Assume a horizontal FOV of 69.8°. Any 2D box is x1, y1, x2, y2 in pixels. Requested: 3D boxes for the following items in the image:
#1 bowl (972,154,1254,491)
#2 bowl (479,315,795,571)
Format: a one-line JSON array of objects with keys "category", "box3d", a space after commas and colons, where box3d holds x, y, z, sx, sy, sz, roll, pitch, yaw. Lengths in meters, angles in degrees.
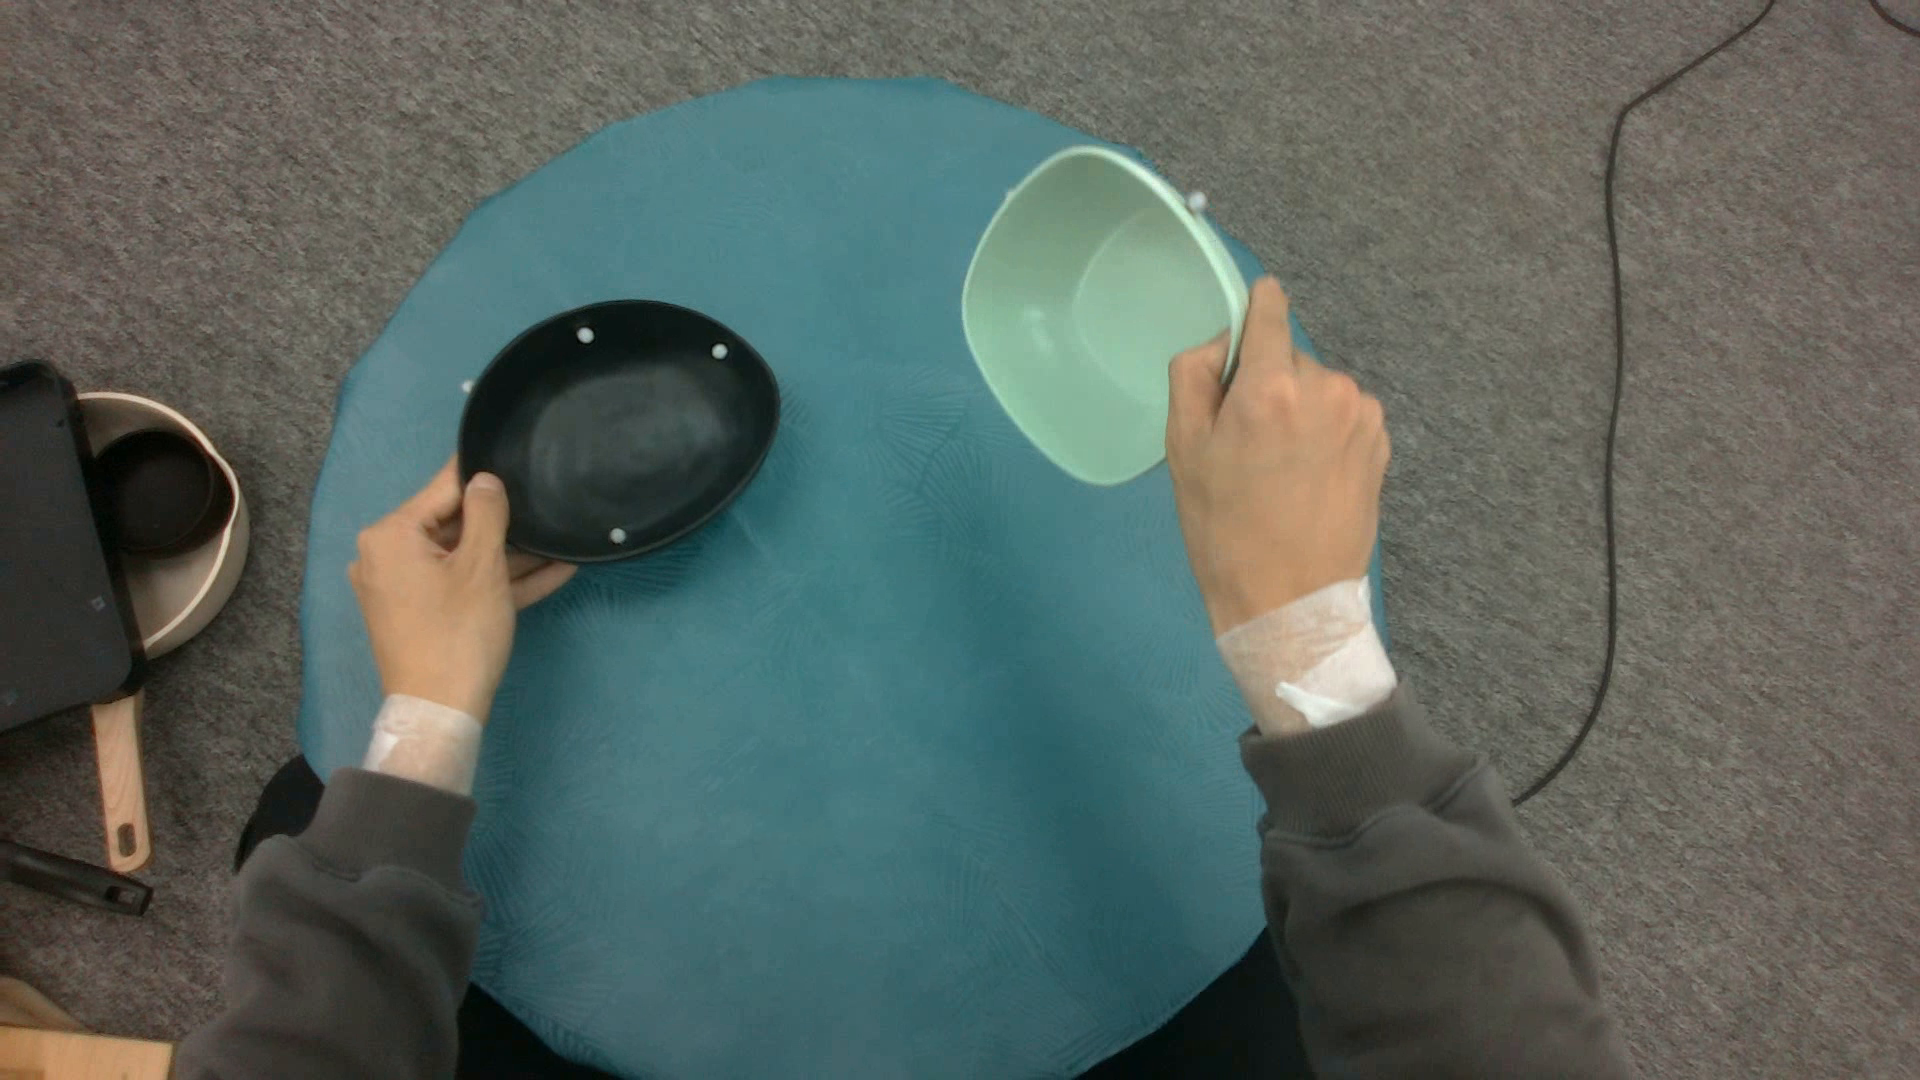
[{"category": "bowl", "box3d": [0.079, -0.102, 0.637, 0.059, 0.150, 0.151, -20, 75, -41]}, {"category": "bowl", "box3d": [-0.175, -0.049, 0.757, 0.170, 0.066, 0.137, -28, 80, -15]}]
